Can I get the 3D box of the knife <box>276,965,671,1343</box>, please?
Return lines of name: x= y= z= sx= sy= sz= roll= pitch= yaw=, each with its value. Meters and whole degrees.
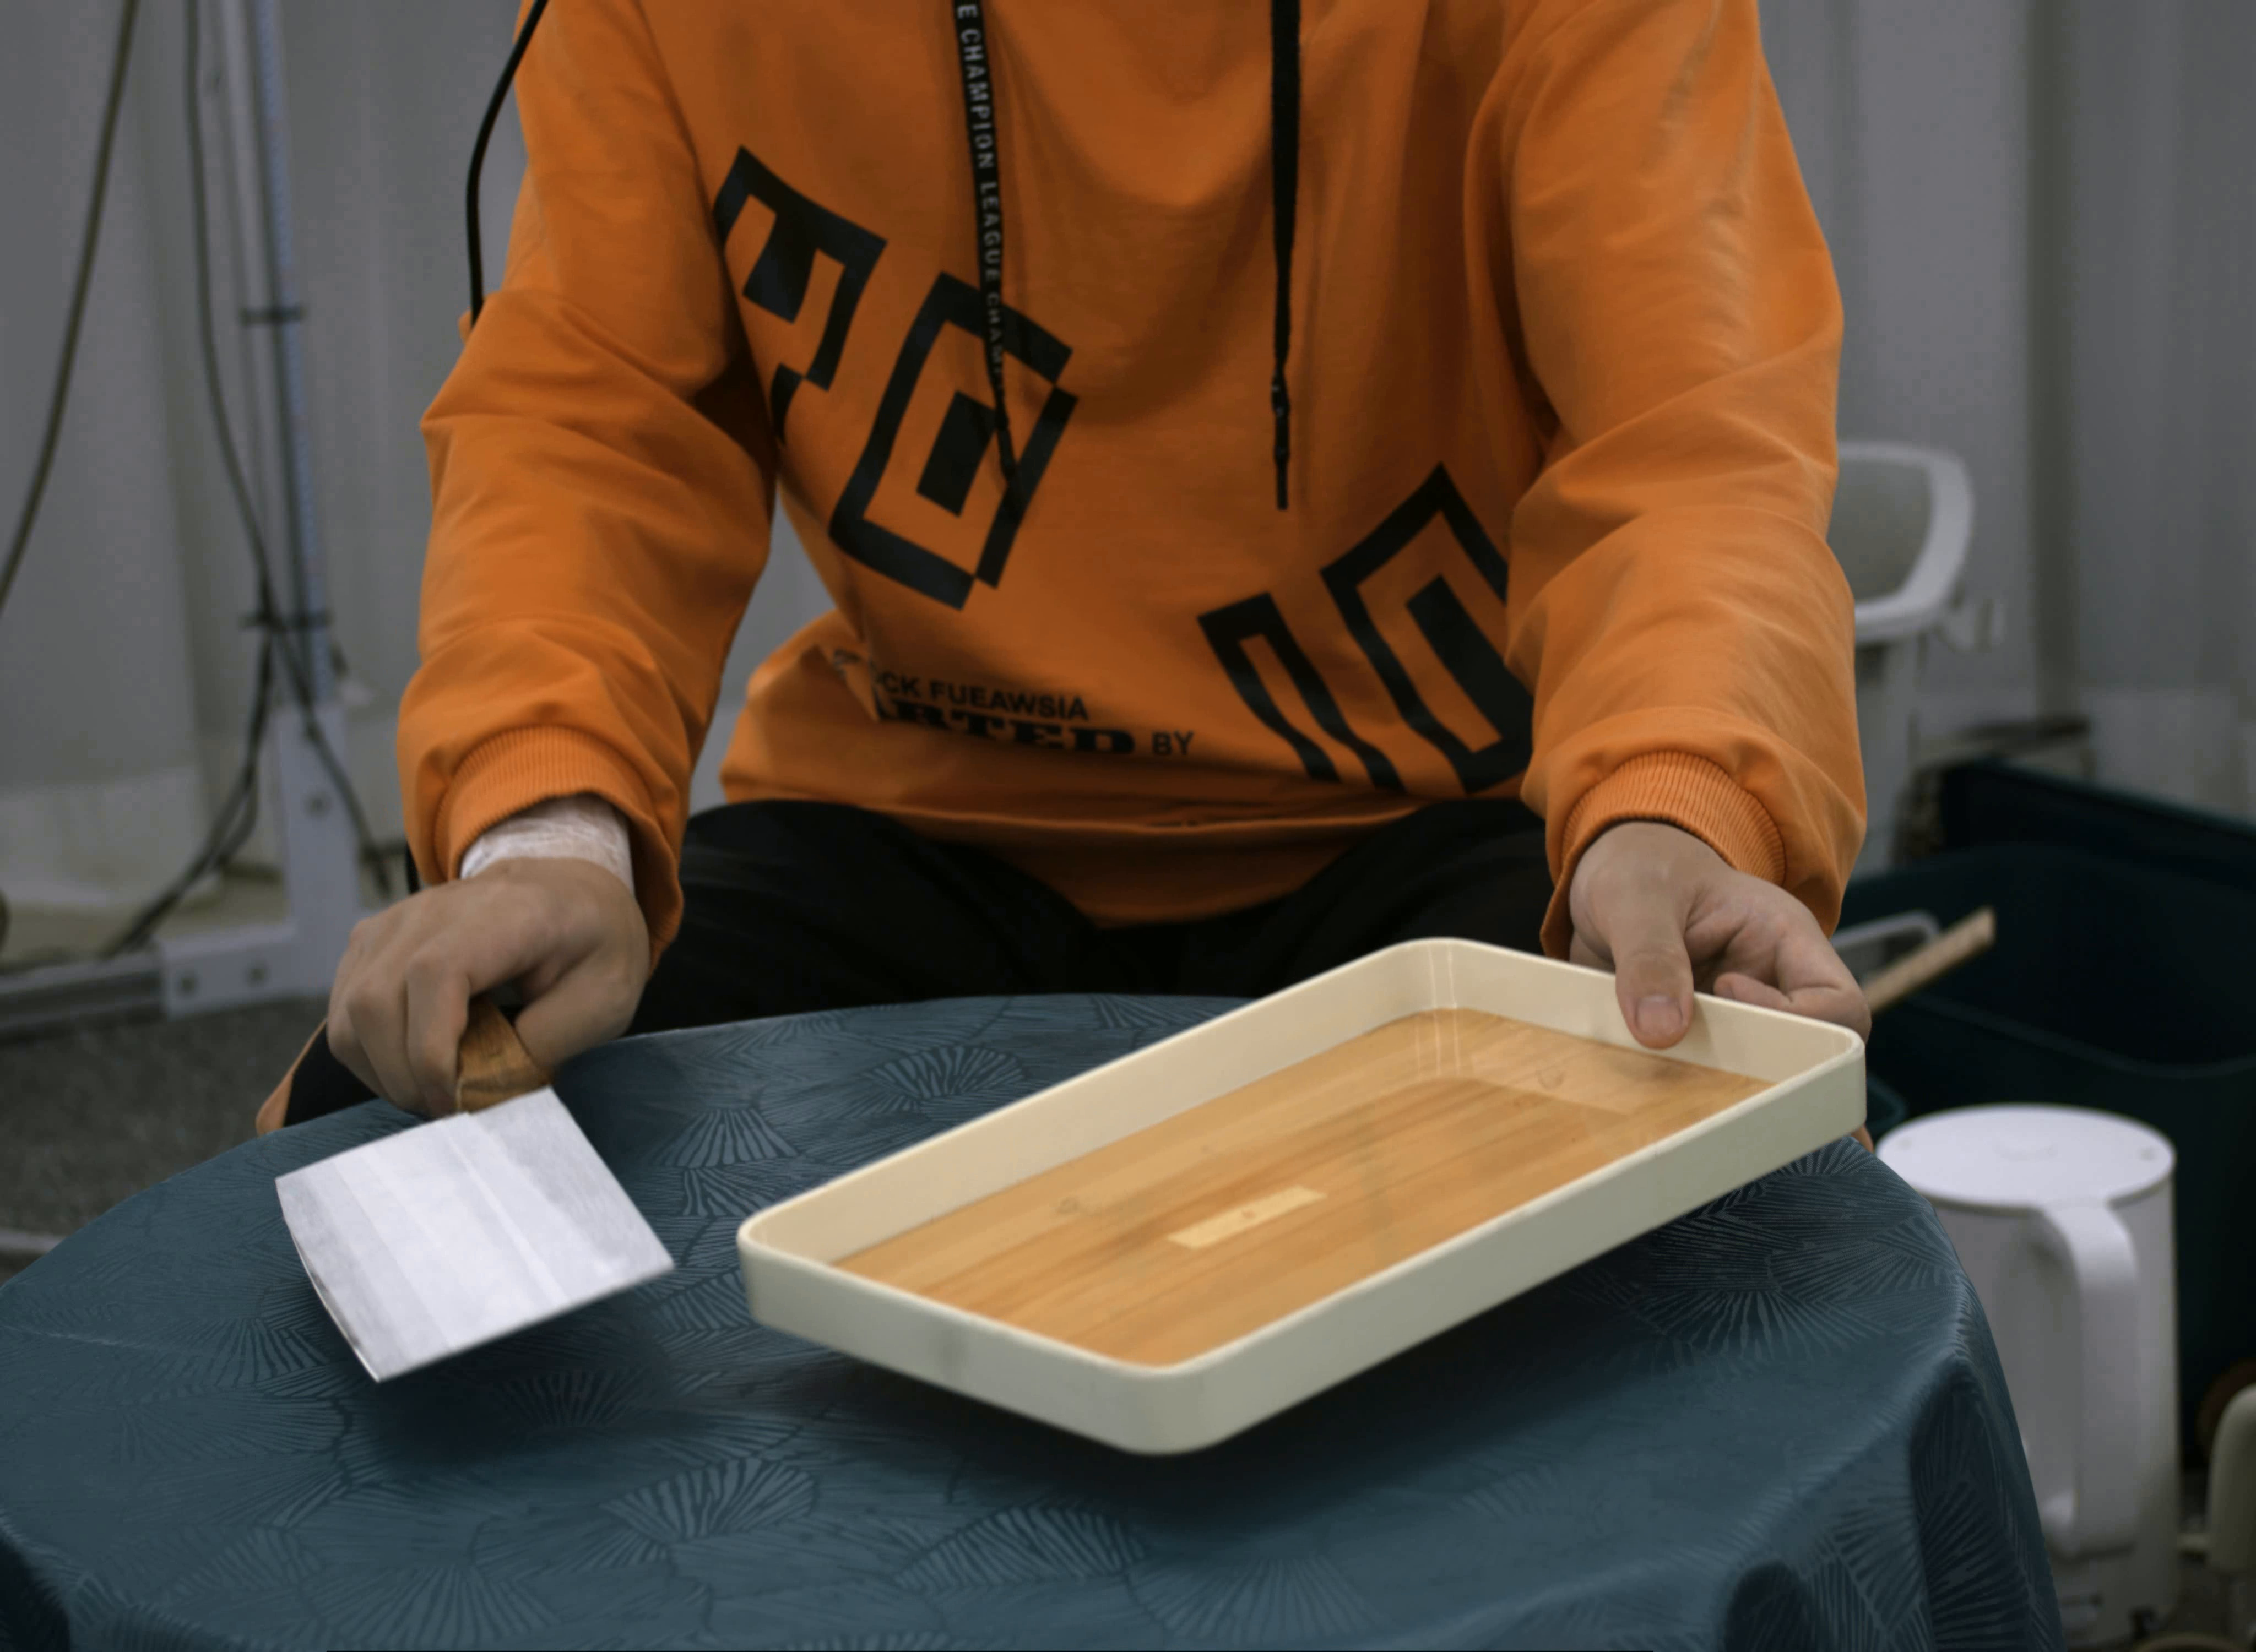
knife: x=-0.210 y=0.100 z=1.656 sx=0.093 sy=0.021 sz=0.308 roll=-21 pitch=18 yaw=-11

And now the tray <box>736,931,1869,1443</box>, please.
tray: x=0.054 y=0.099 z=1.585 sx=0.300 sy=0.027 sz=0.193 roll=-21 pitch=22 yaw=-39
